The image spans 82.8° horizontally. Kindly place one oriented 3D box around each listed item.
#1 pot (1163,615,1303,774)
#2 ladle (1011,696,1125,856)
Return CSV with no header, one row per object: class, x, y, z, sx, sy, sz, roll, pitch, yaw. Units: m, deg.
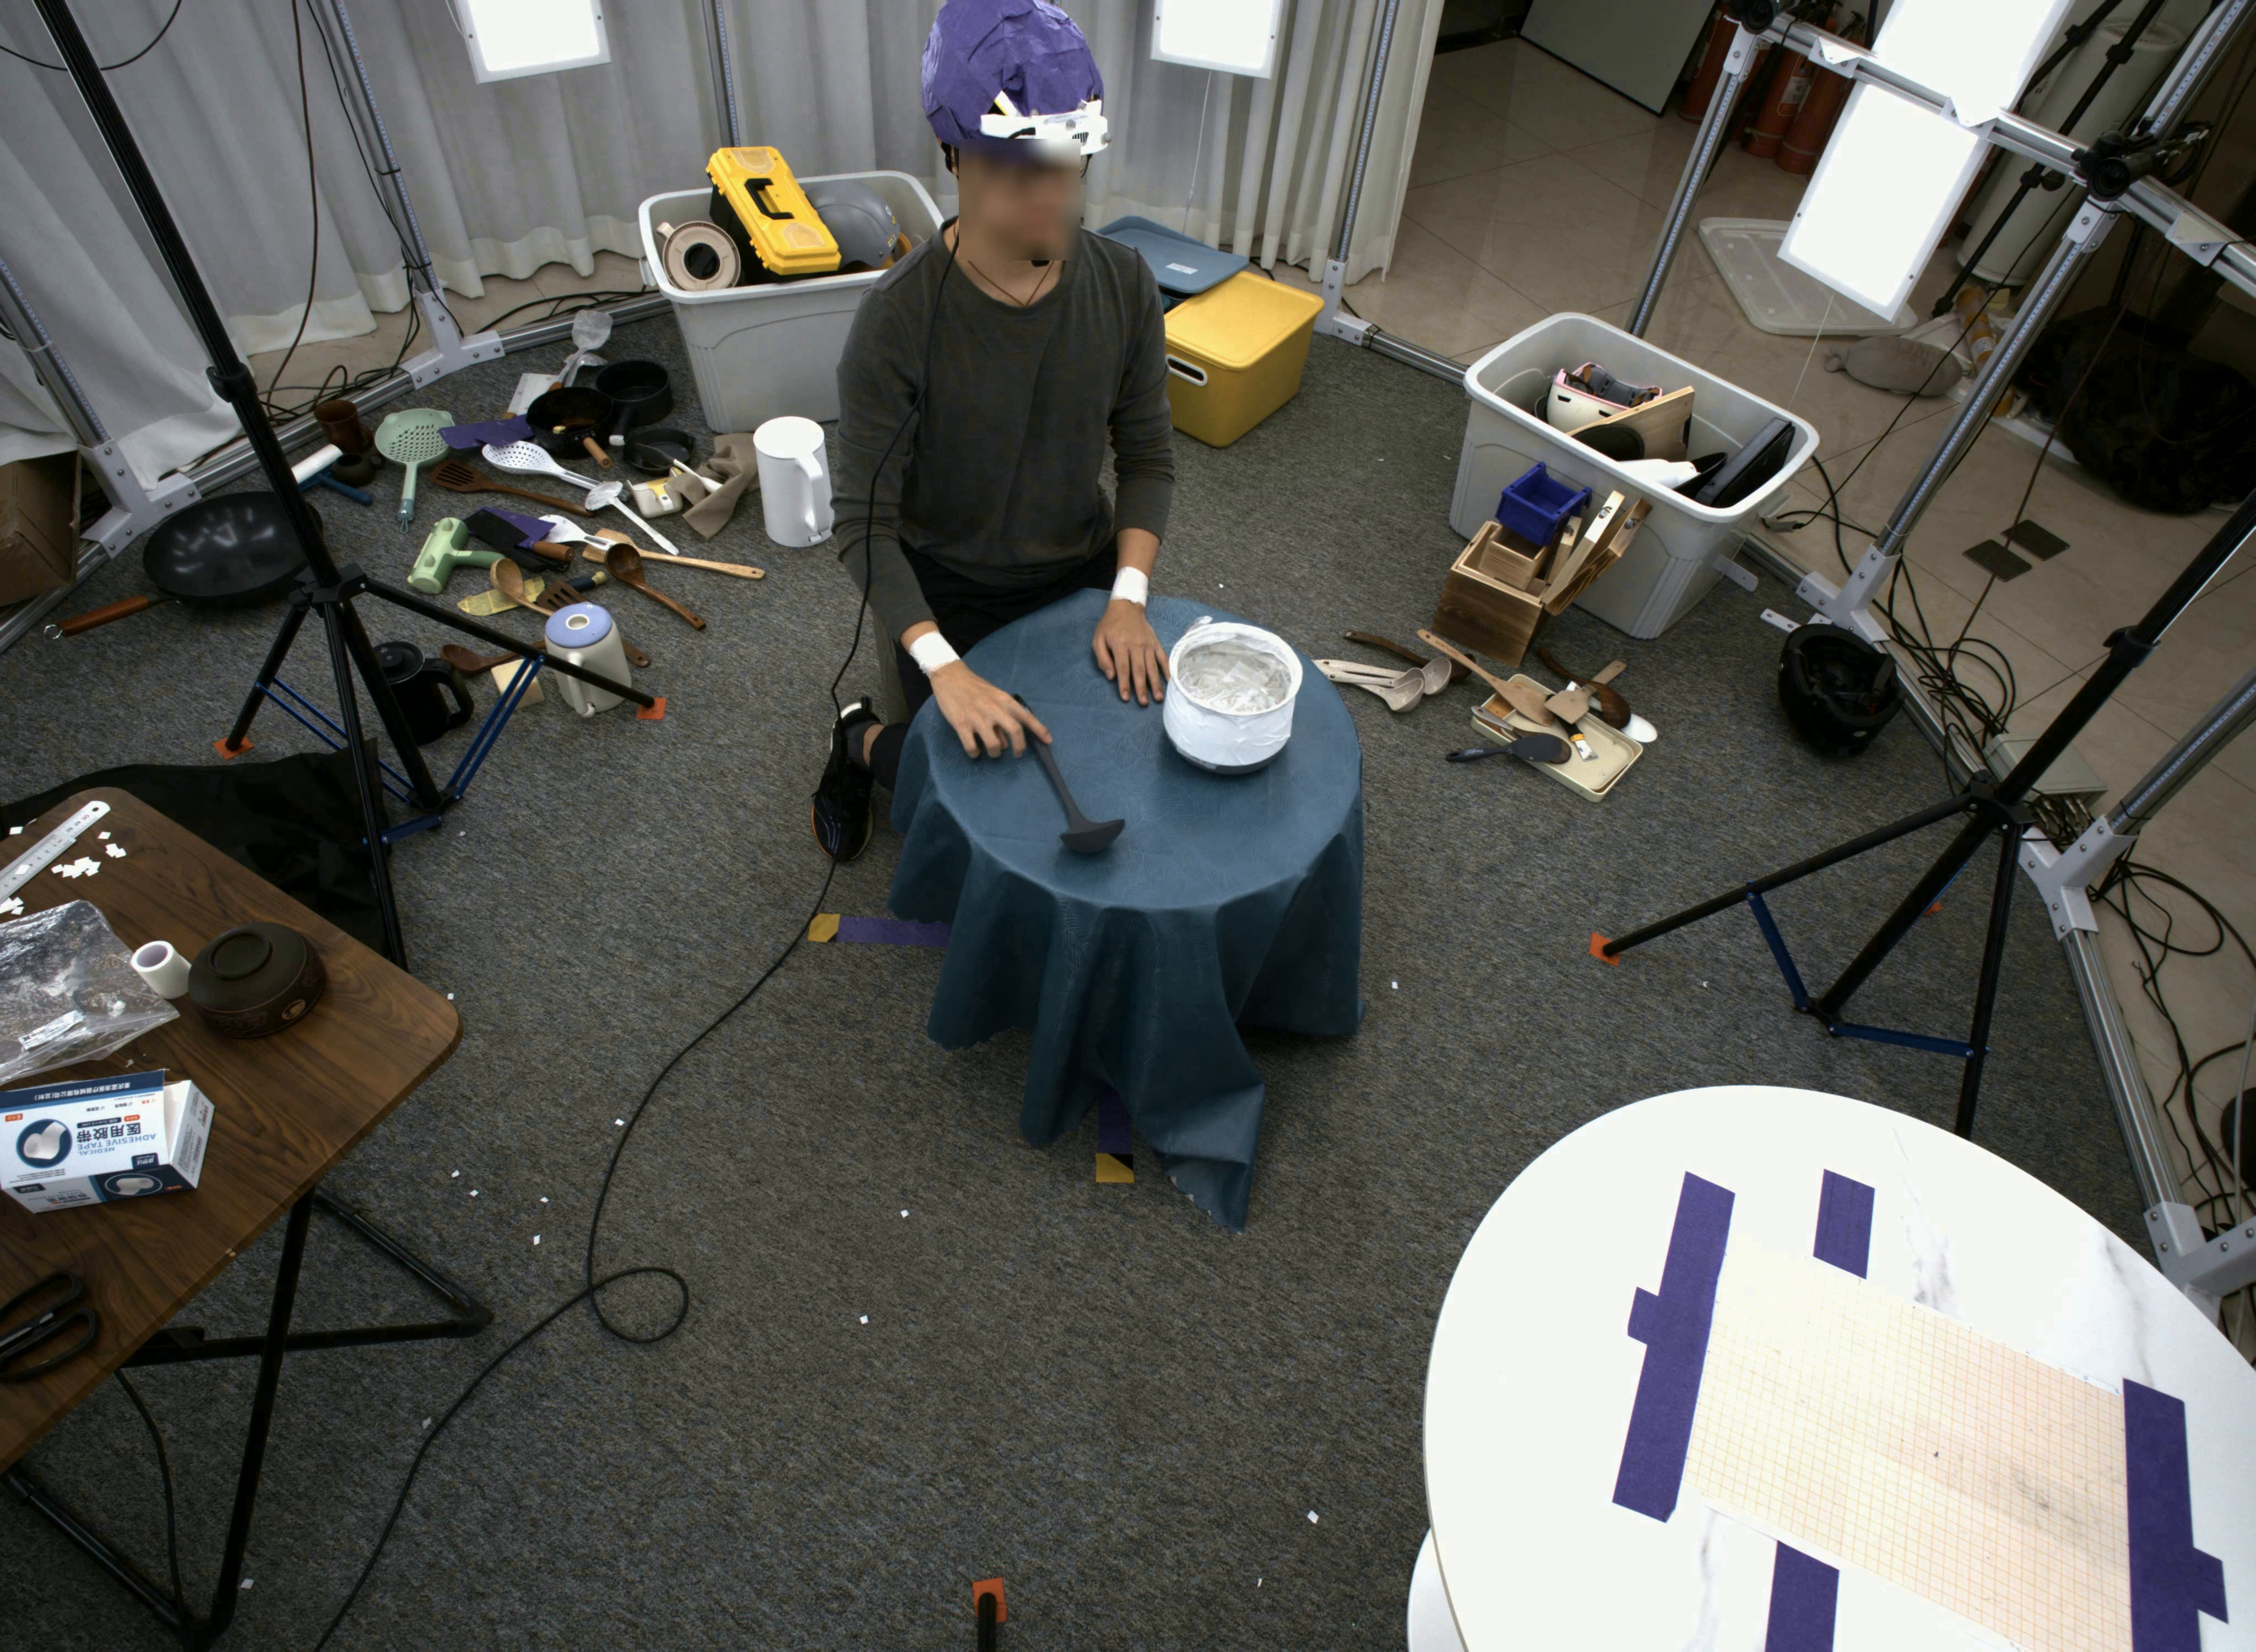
pot,0.128,-0.189,1.751,0.179,0.133,0.239,-15,52,-16
ladle,-0.095,-0.082,1.691,0.086,0.062,0.321,-11,50,-21
